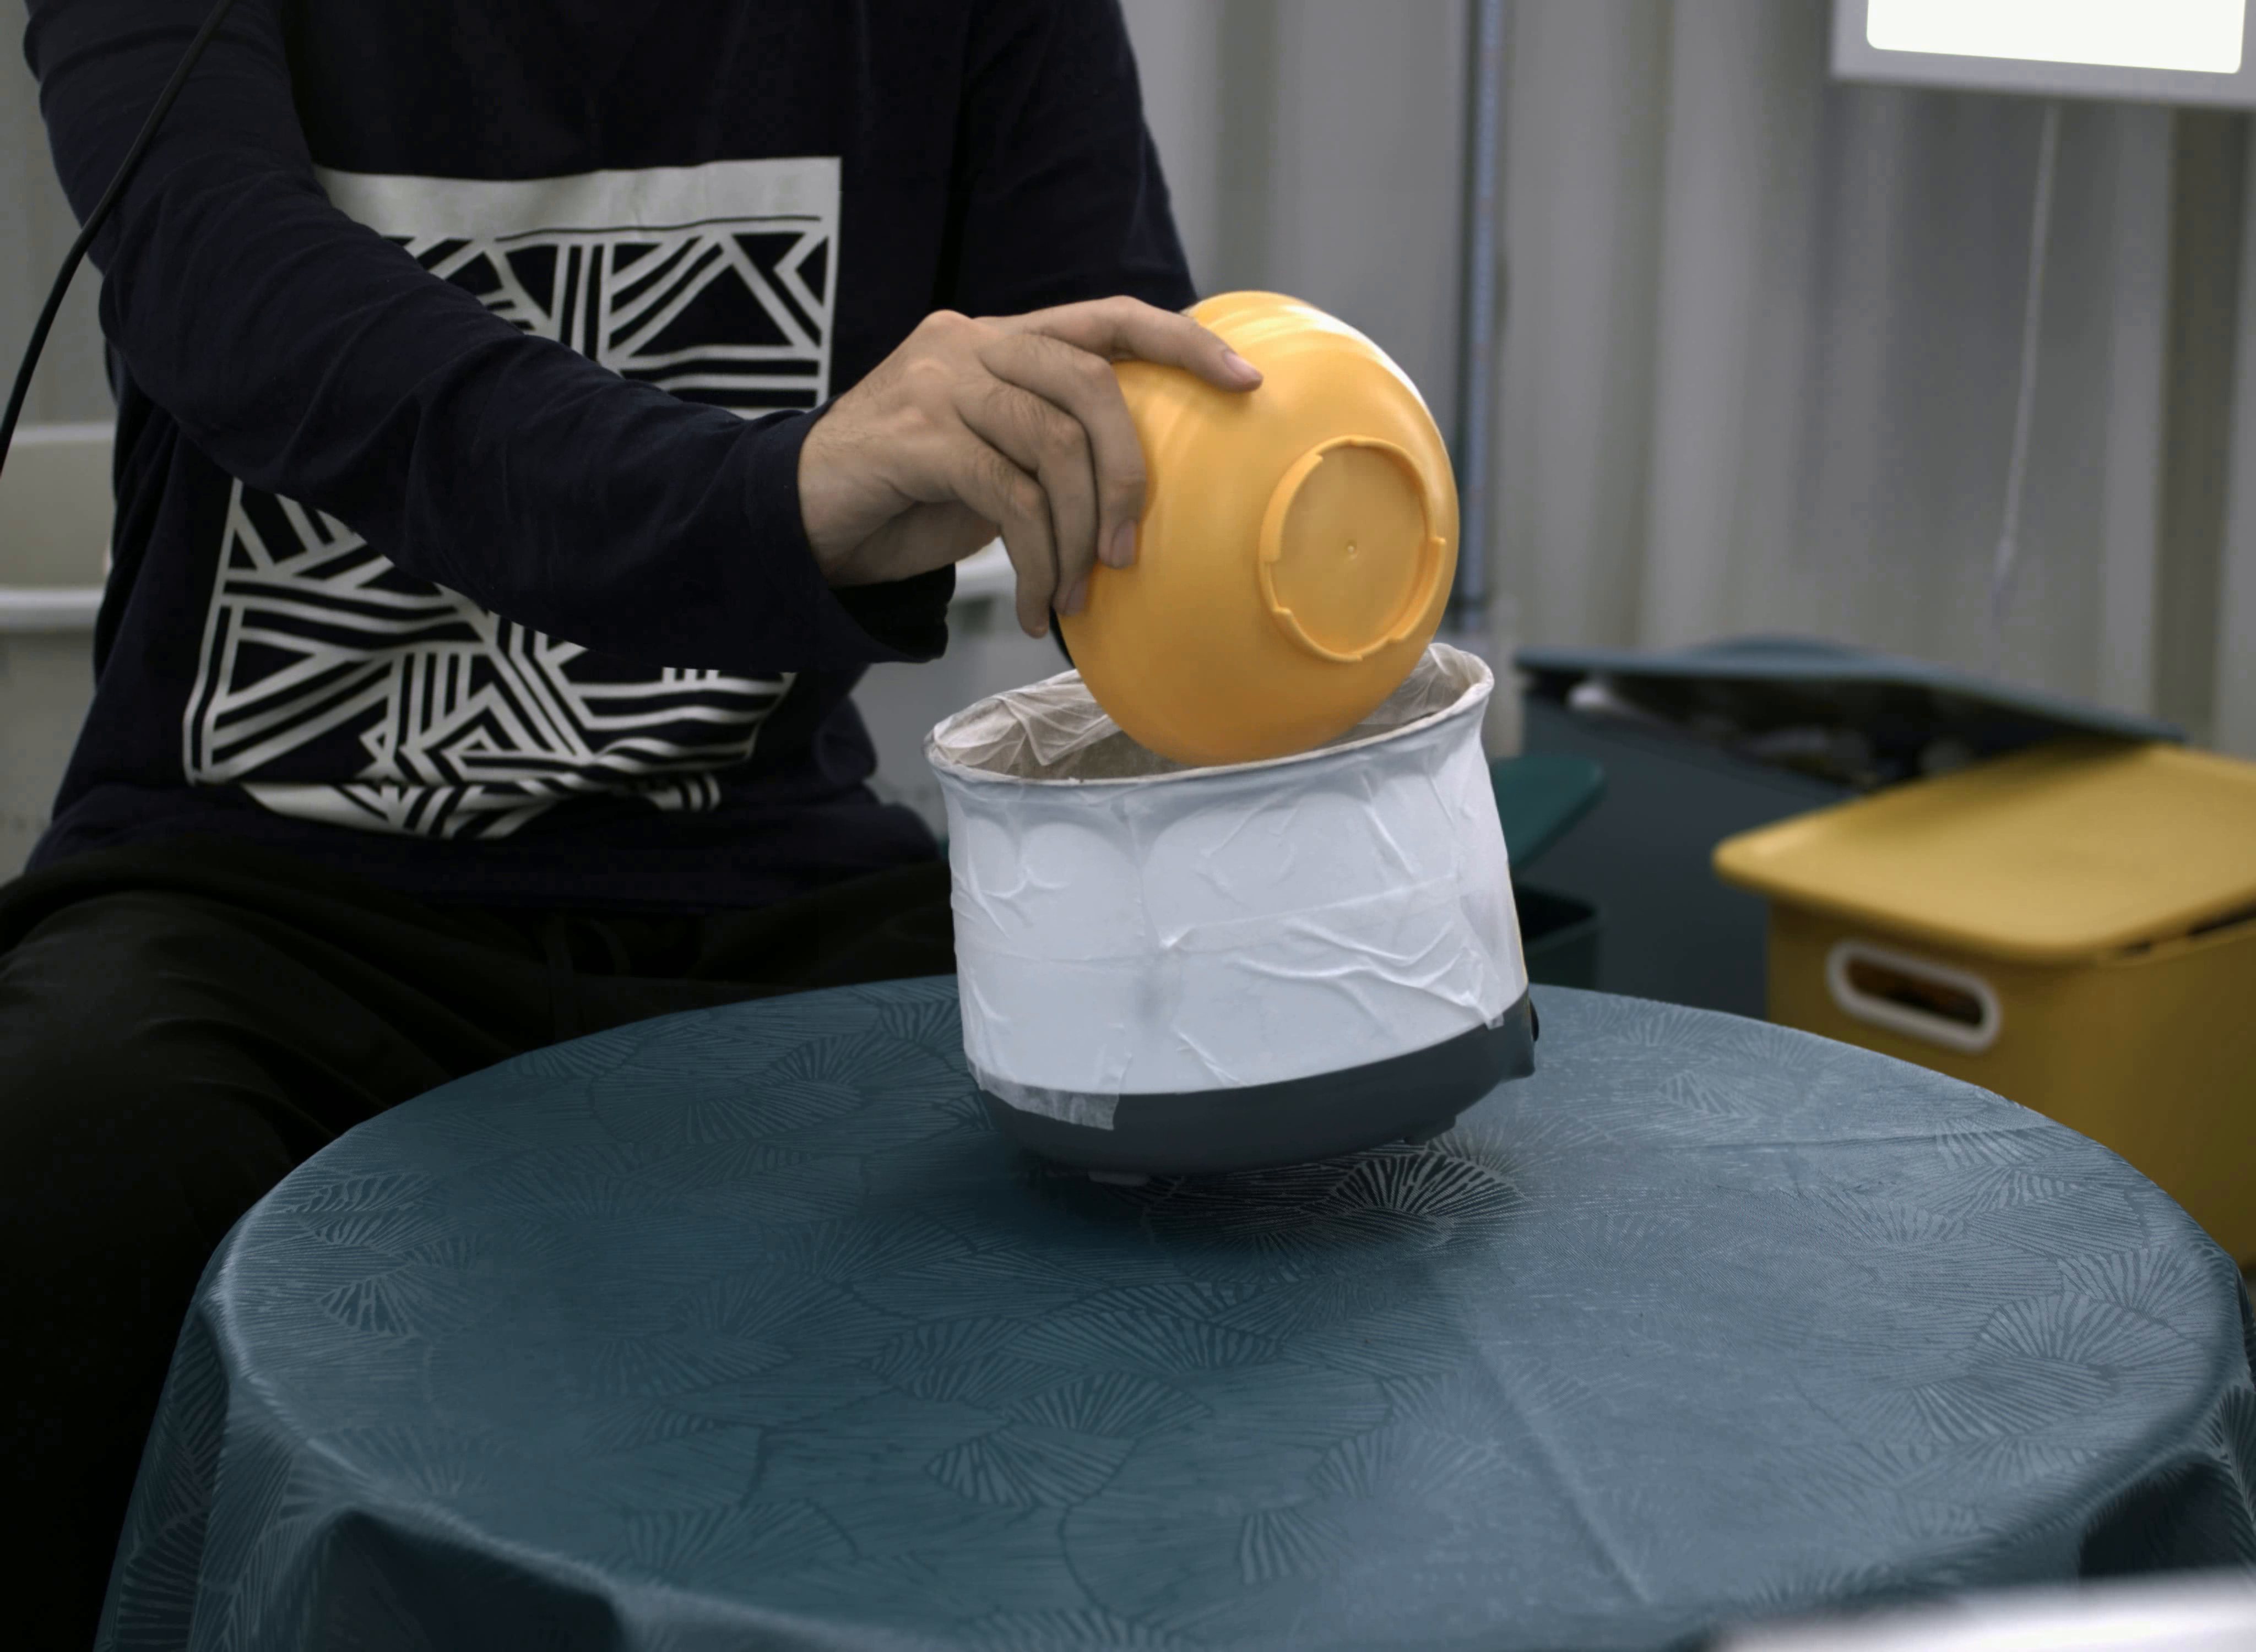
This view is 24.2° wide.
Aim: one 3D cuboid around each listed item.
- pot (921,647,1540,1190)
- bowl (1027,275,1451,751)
[{"bbox_3d":[0.030,0.022,1.650,0.178,0.137,0.232,-9,12,-4],"label":"pot"},{"bbox_3d":[0.046,-0.087,1.562,0.146,0.146,0.059,-10,19,-32],"label":"bowl"}]
